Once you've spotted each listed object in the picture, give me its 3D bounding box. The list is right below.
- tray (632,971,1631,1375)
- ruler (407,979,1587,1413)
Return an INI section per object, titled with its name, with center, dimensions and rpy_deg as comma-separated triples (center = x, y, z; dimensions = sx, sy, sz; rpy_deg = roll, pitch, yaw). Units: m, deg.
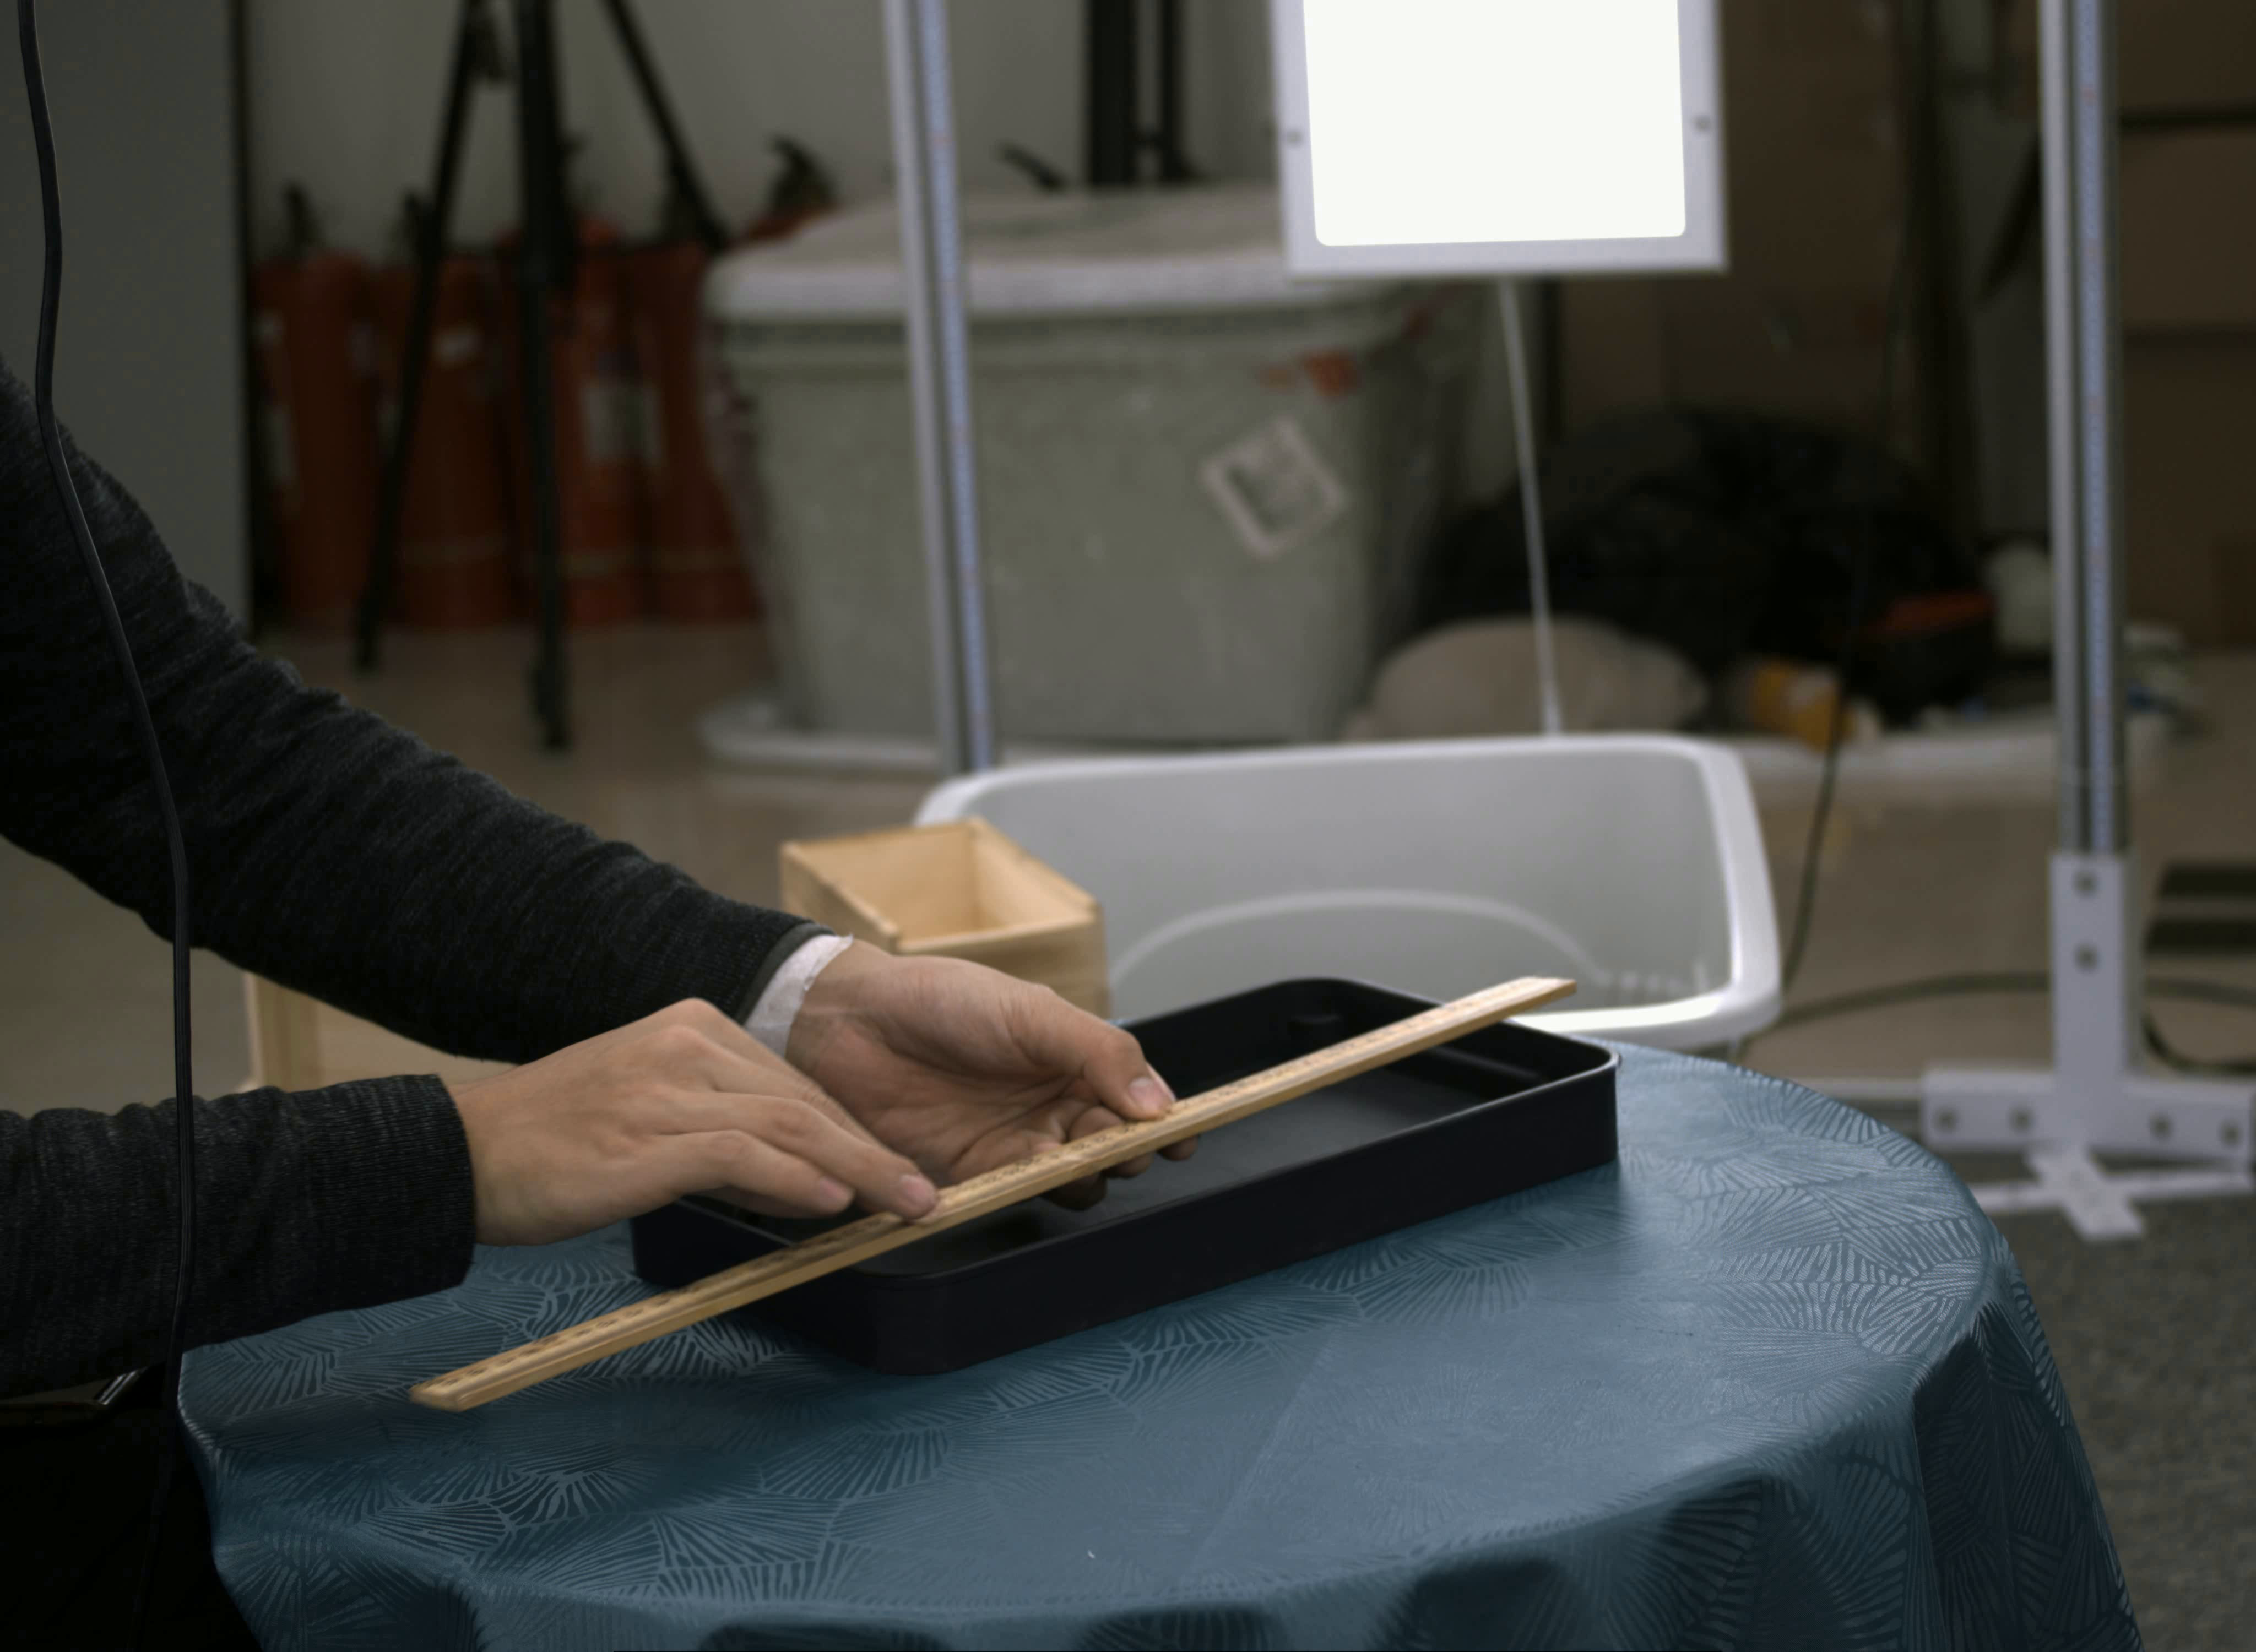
[tray]
center = 0.005, 0.113, 1.877
dimensions = 0.310, 0.037, 0.188
rpy_deg = -15, 17, -34
[ruler]
center = -0.027, 0.112, 1.774
dimensions = 0.488, 0.006, 0.027
rpy_deg = -18, 12, -39
